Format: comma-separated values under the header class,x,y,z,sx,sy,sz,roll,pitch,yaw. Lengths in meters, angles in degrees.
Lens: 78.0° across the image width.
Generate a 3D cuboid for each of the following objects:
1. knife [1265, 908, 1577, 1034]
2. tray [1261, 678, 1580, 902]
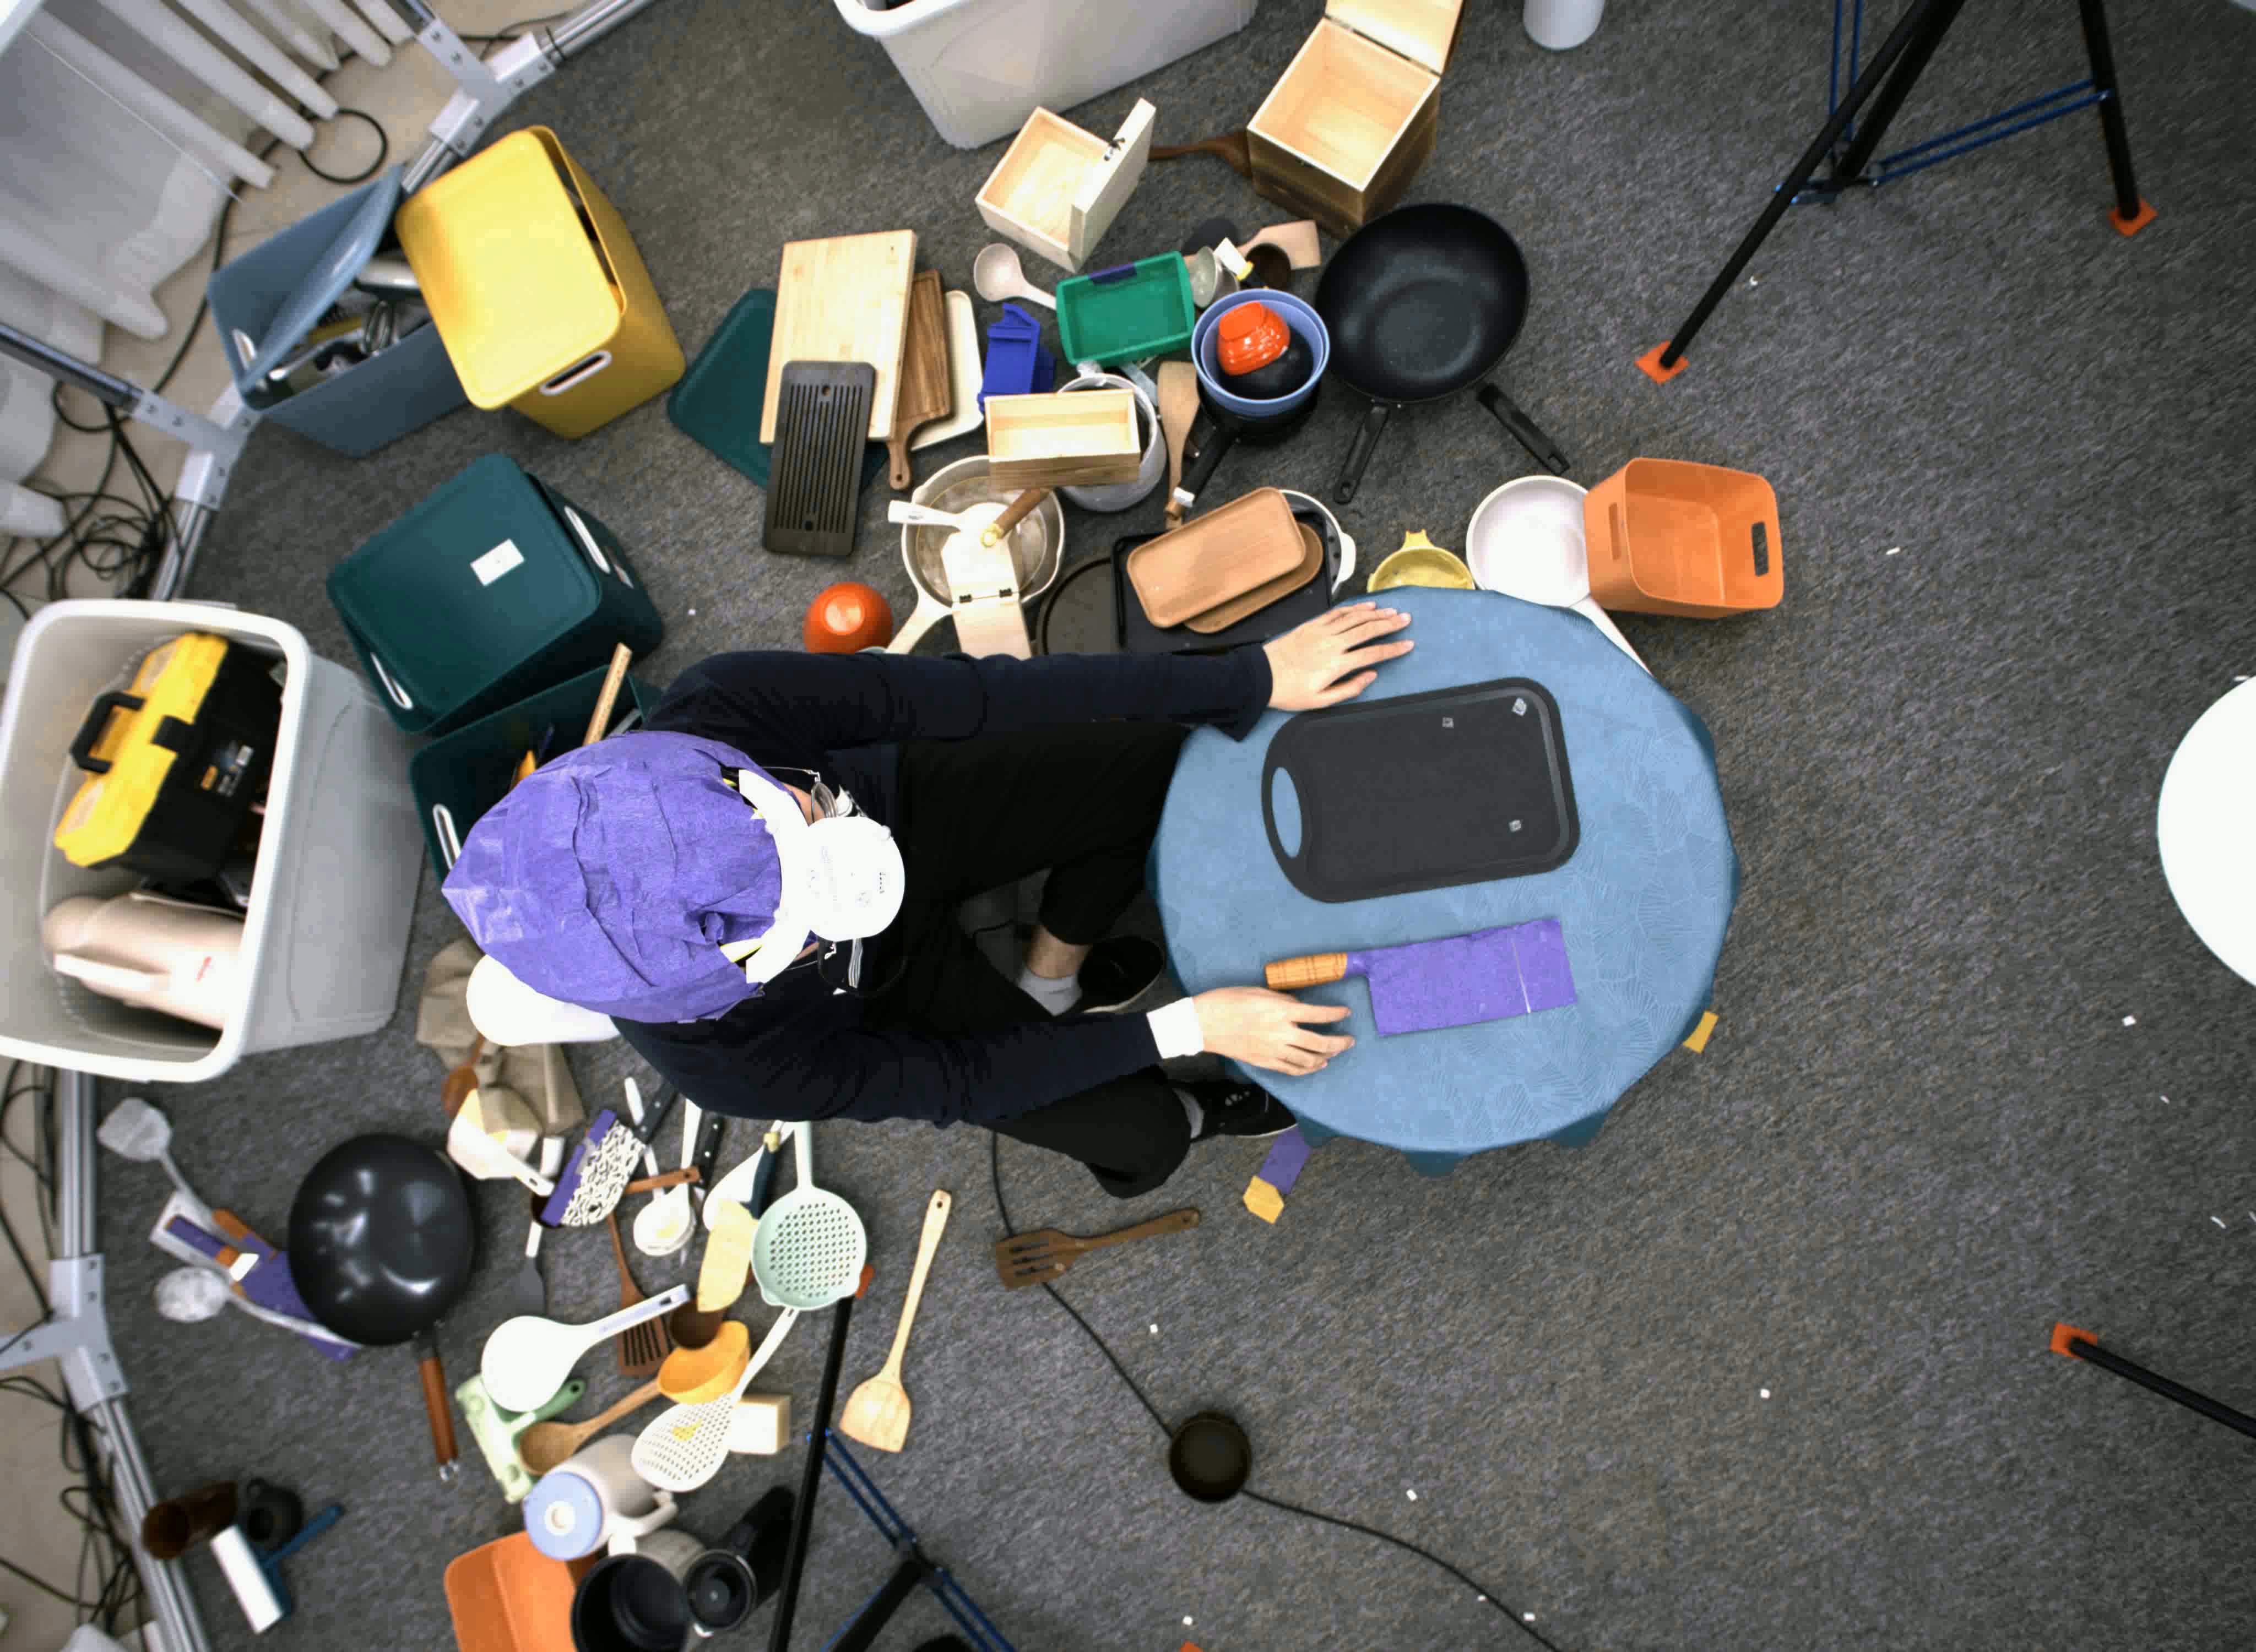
class,x,y,z,sx,sy,sz,roll,pitch,yaw
knife,0.304,0.162,1.435,0.317,0.032,0.103,-12,84,9
tray,0.304,-0.038,1.456,0.327,0.010,0.210,-9,85,10
